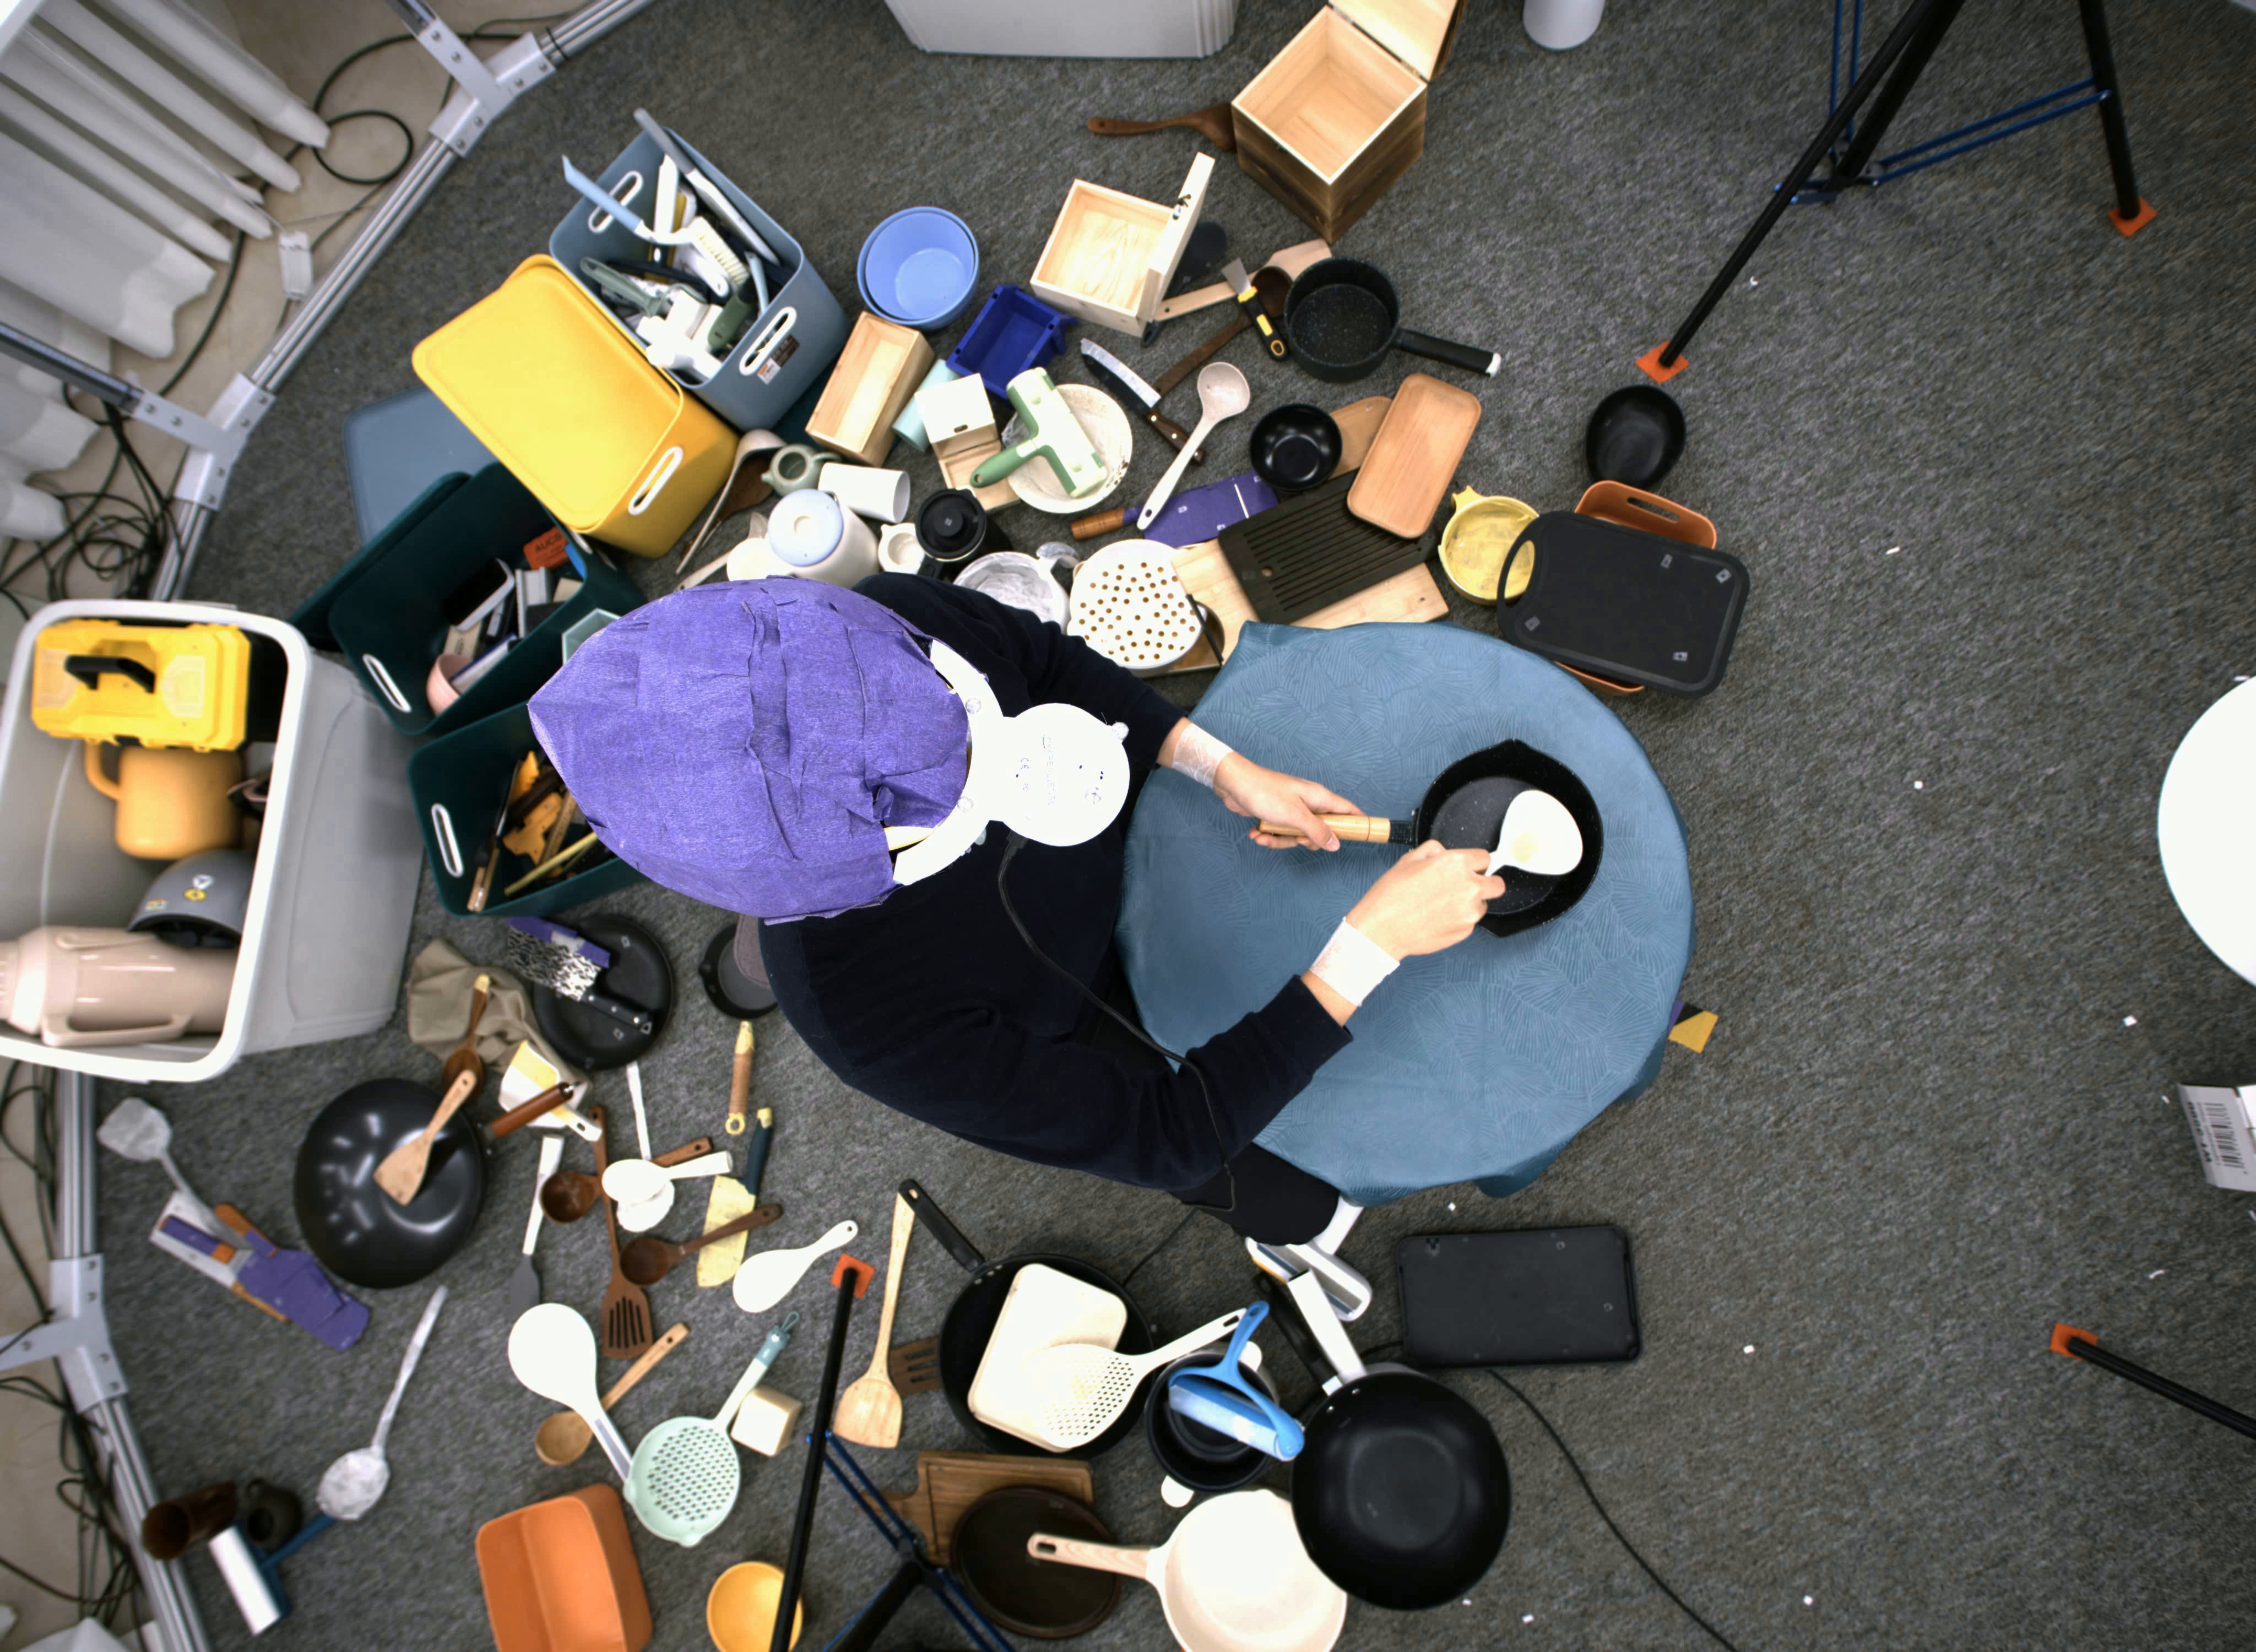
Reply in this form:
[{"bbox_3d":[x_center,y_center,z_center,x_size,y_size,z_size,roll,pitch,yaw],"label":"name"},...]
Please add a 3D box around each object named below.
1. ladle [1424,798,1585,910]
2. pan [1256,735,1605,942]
[{"bbox_3d":[0.355,0.029,1.280,0.071,0.289,0.090,-26,83,32],"label":"ladle"},{"bbox_3d":[0.302,0.009,1.399,0.344,0.108,0.207,3,88,8],"label":"pan"}]
